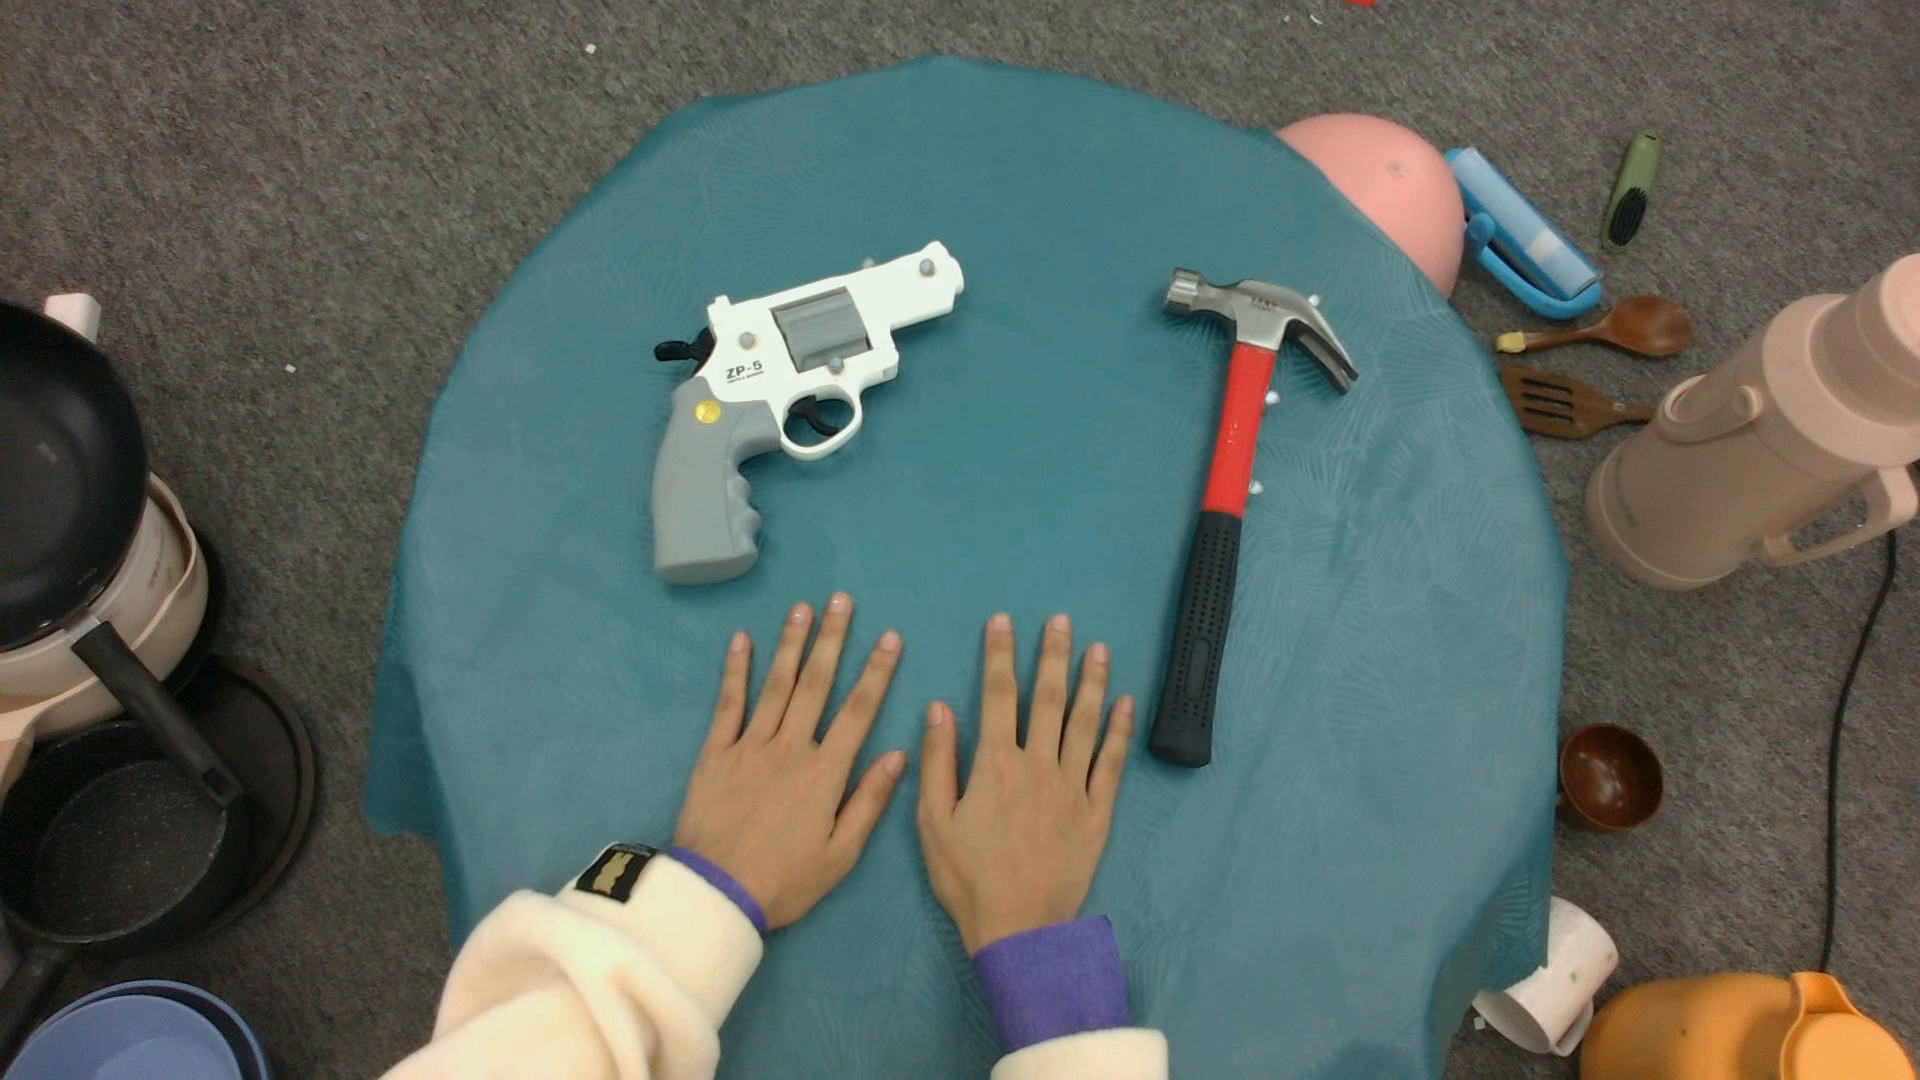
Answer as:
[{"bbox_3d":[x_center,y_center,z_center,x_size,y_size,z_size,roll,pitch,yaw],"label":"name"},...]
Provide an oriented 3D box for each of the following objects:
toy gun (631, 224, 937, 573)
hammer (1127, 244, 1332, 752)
[{"bbox_3d":[-0.088,-0.078,0.709,0.209,0.038,0.142,-23,71,-15],"label":"toy gun"},{"bbox_3d":[0.128,-0.024,0.719,0.111,0.026,0.278,18,67,-9],"label":"hammer"}]
